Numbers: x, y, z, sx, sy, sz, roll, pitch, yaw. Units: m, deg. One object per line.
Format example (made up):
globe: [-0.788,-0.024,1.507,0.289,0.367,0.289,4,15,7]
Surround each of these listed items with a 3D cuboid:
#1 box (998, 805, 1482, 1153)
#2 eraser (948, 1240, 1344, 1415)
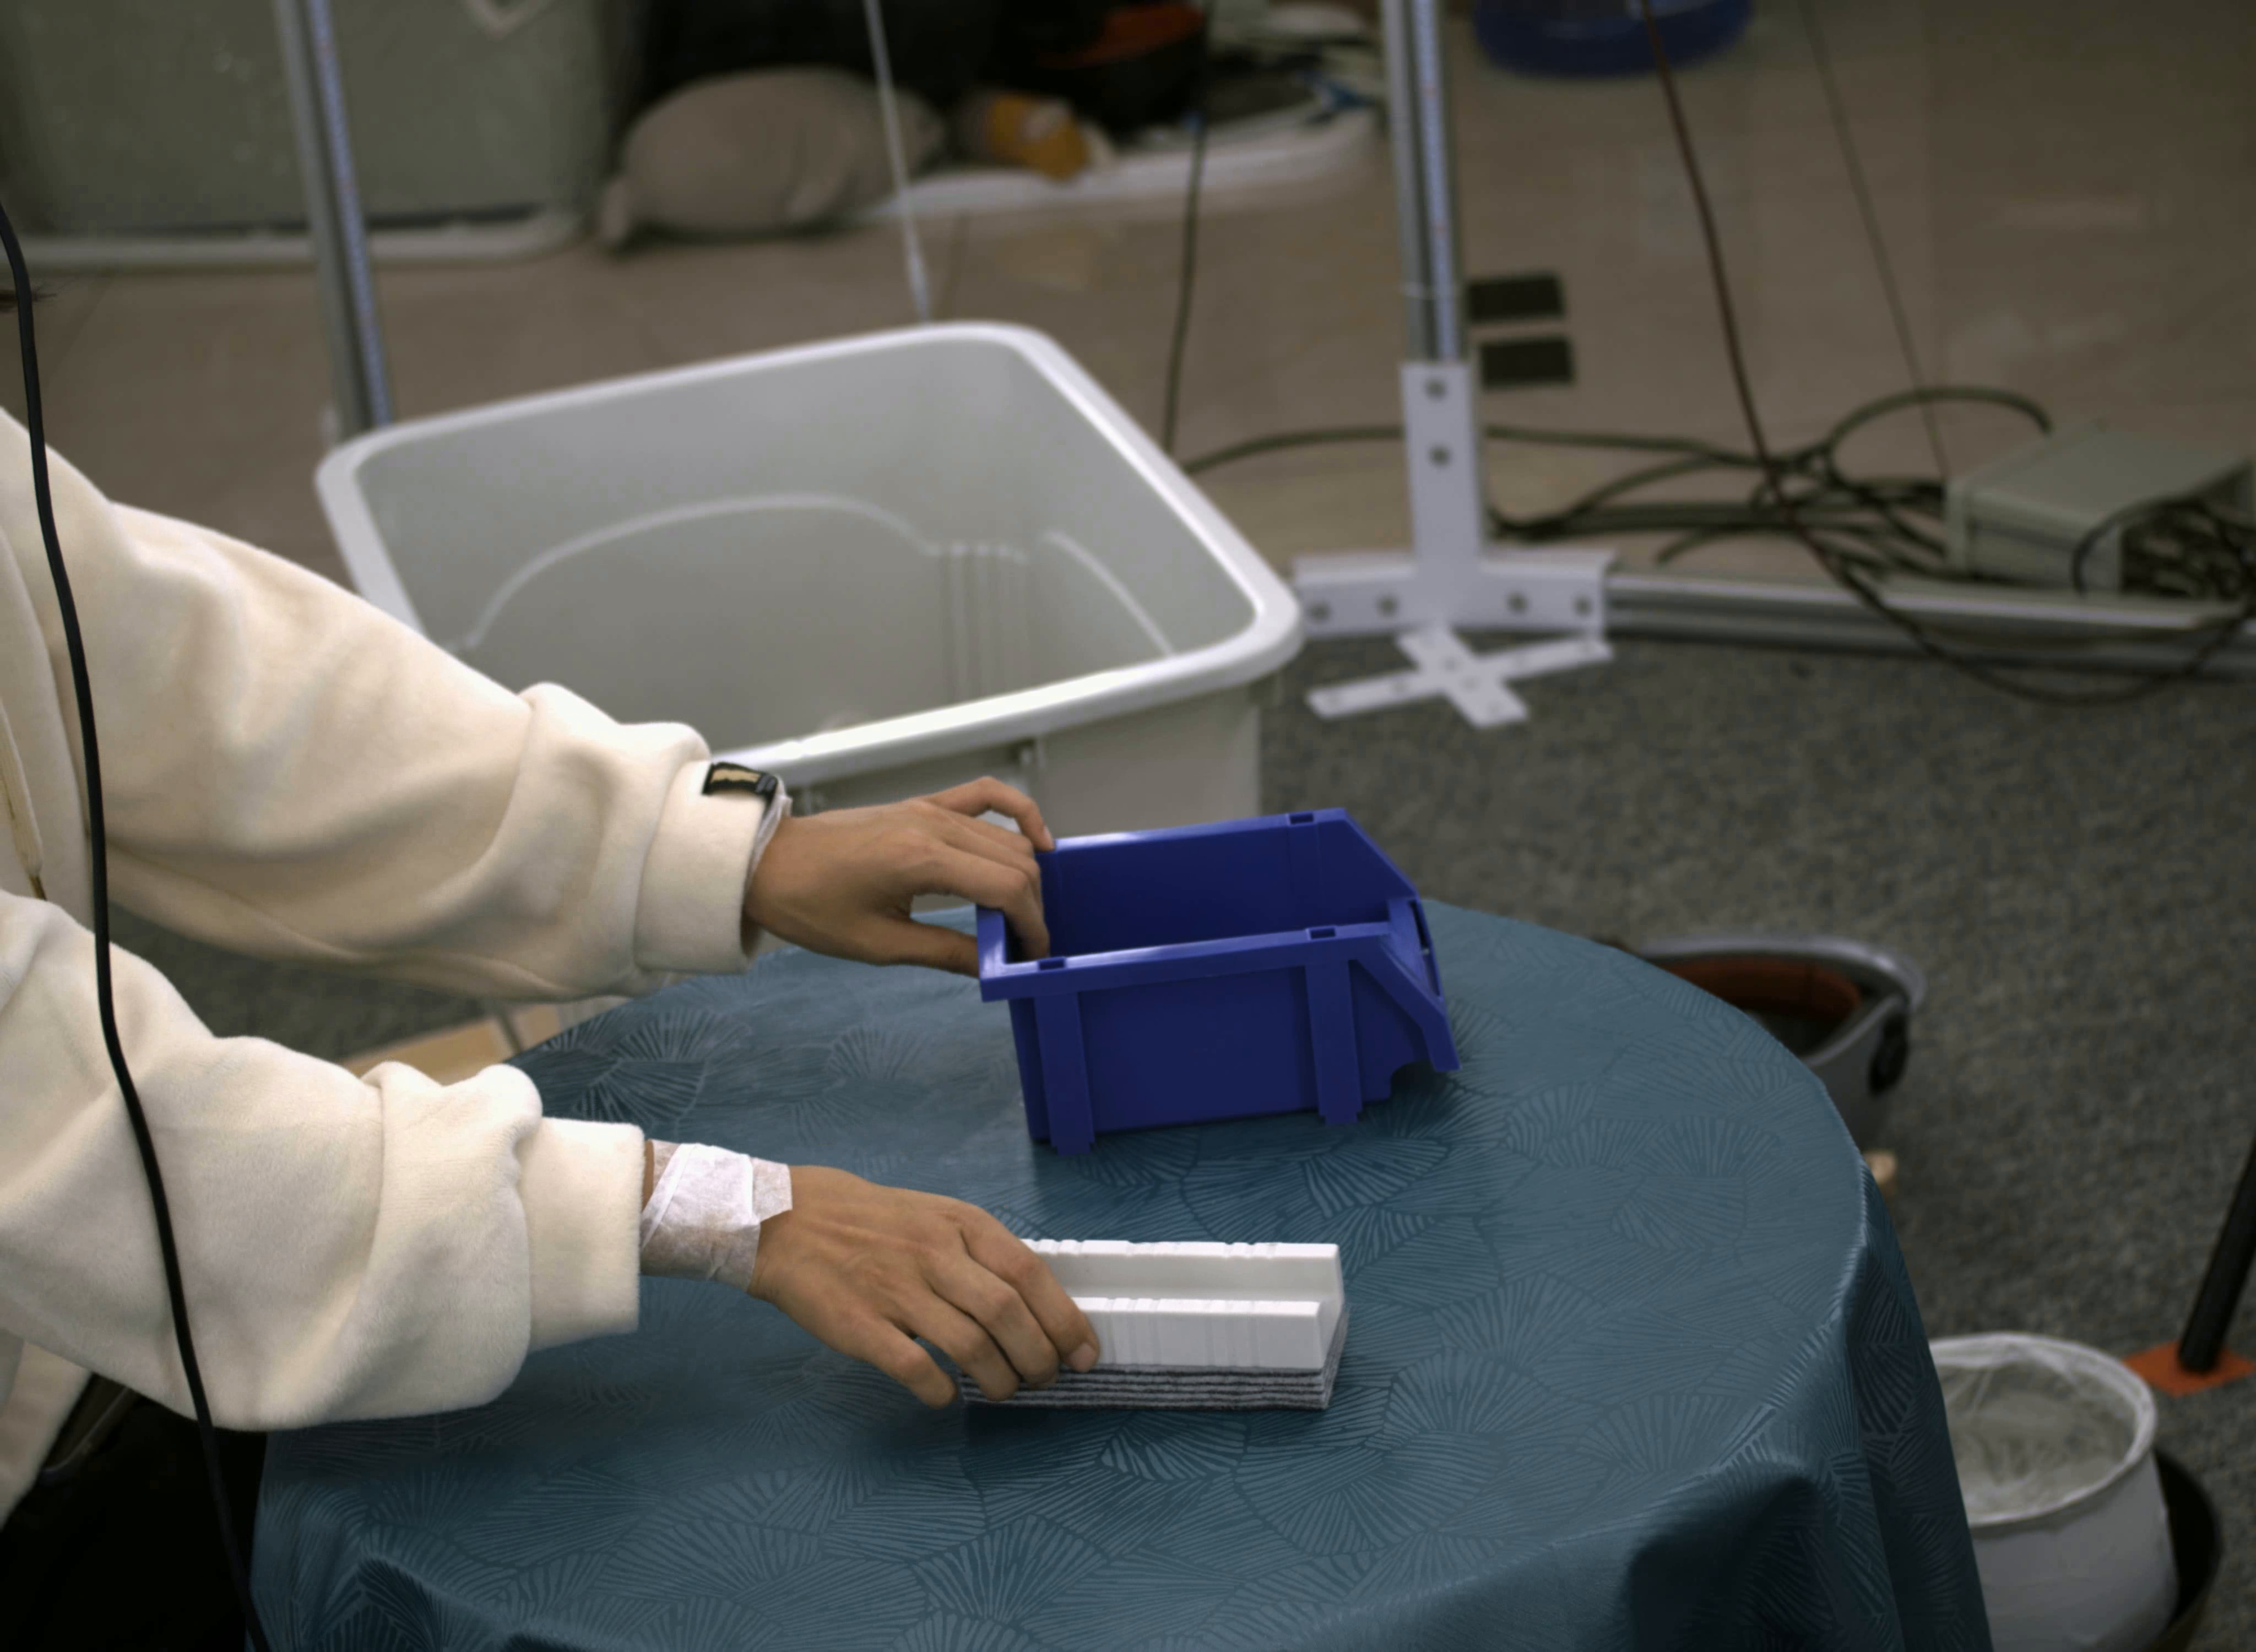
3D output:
box: [0.043,0.057,2.215,0.179,0.083,0.122,-7,25,3]
eraser: [0.008,0.177,2.007,0.134,0.047,0.049,0,30,10]
